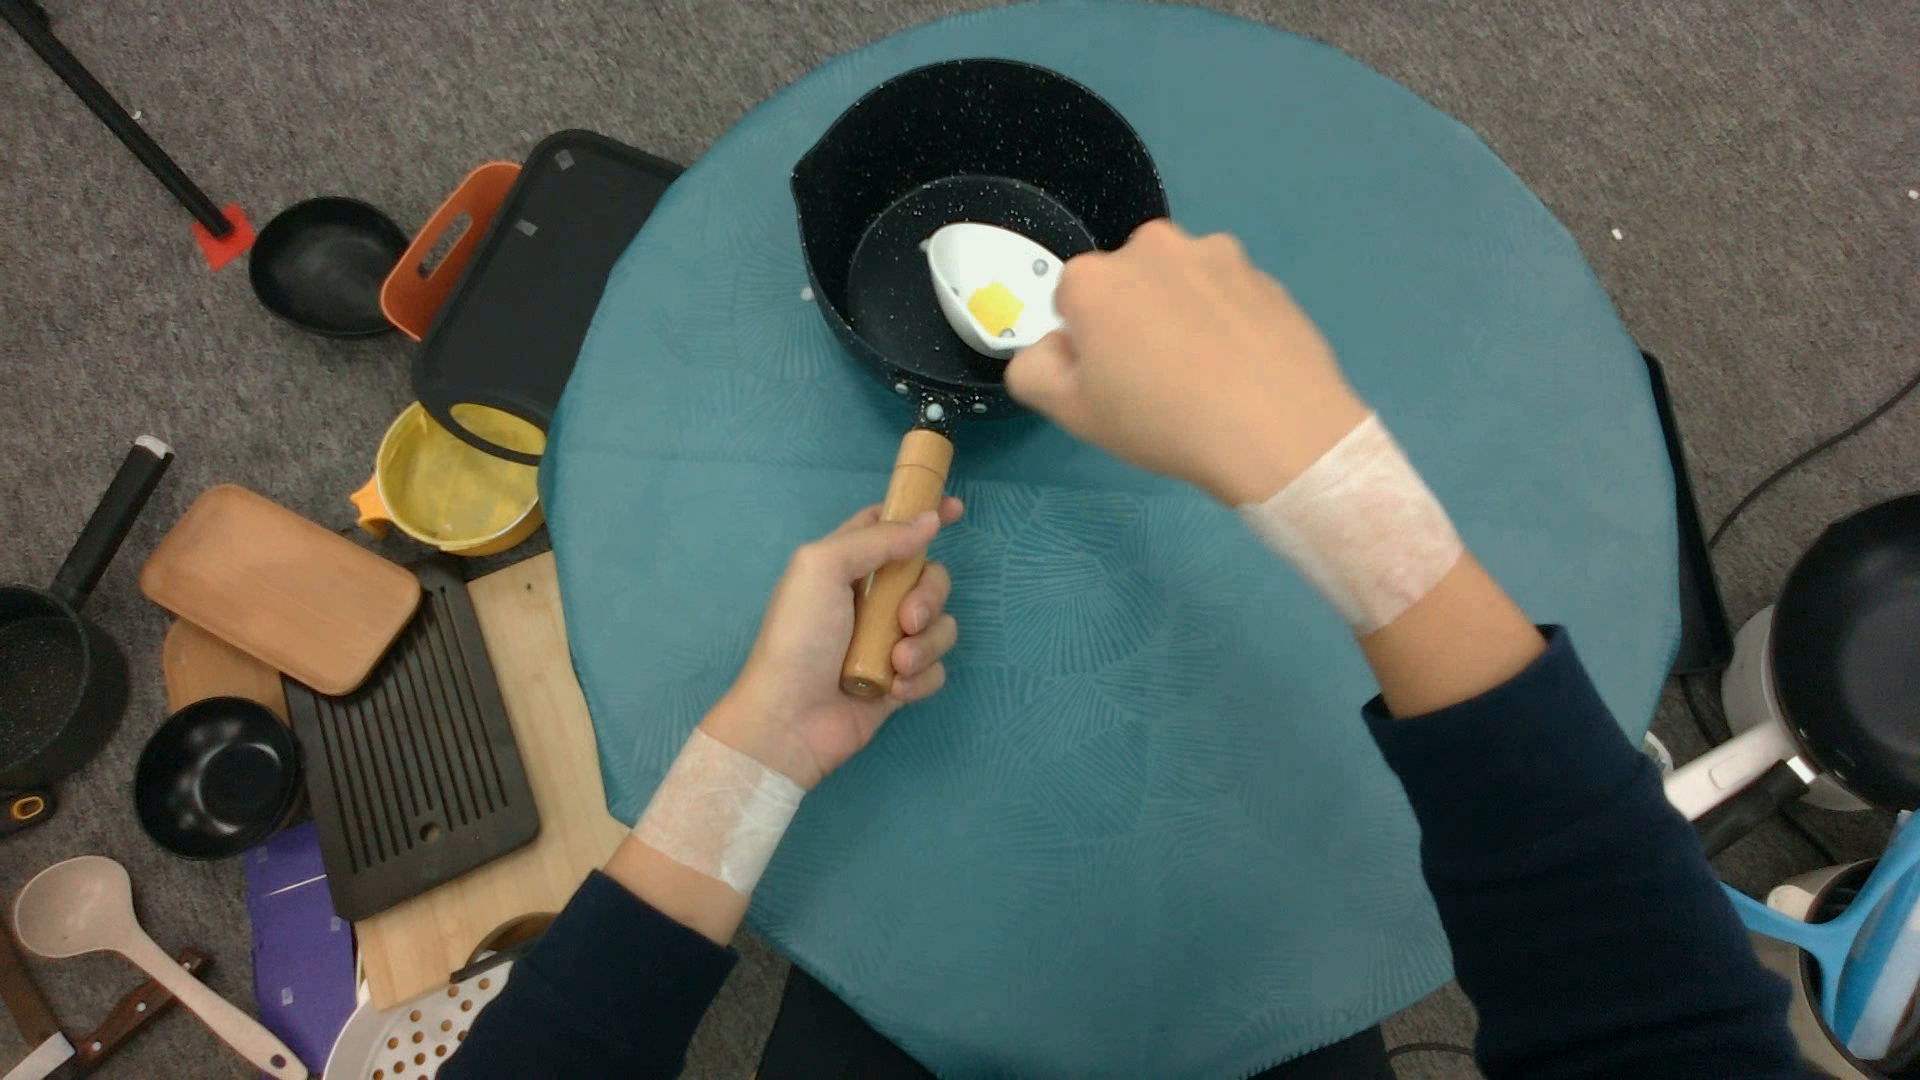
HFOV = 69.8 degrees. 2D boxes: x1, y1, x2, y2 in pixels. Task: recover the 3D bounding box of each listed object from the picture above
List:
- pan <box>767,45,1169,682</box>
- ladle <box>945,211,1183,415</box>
[{"bbox_3d":[-0.012,-0.084,0.689,0.207,0.108,0.344,12,71,0],"label":"pan"},{"bbox_3d":[0.047,-0.108,0.626,0.090,0.293,0.070,31,95,-16],"label":"ladle"}]
